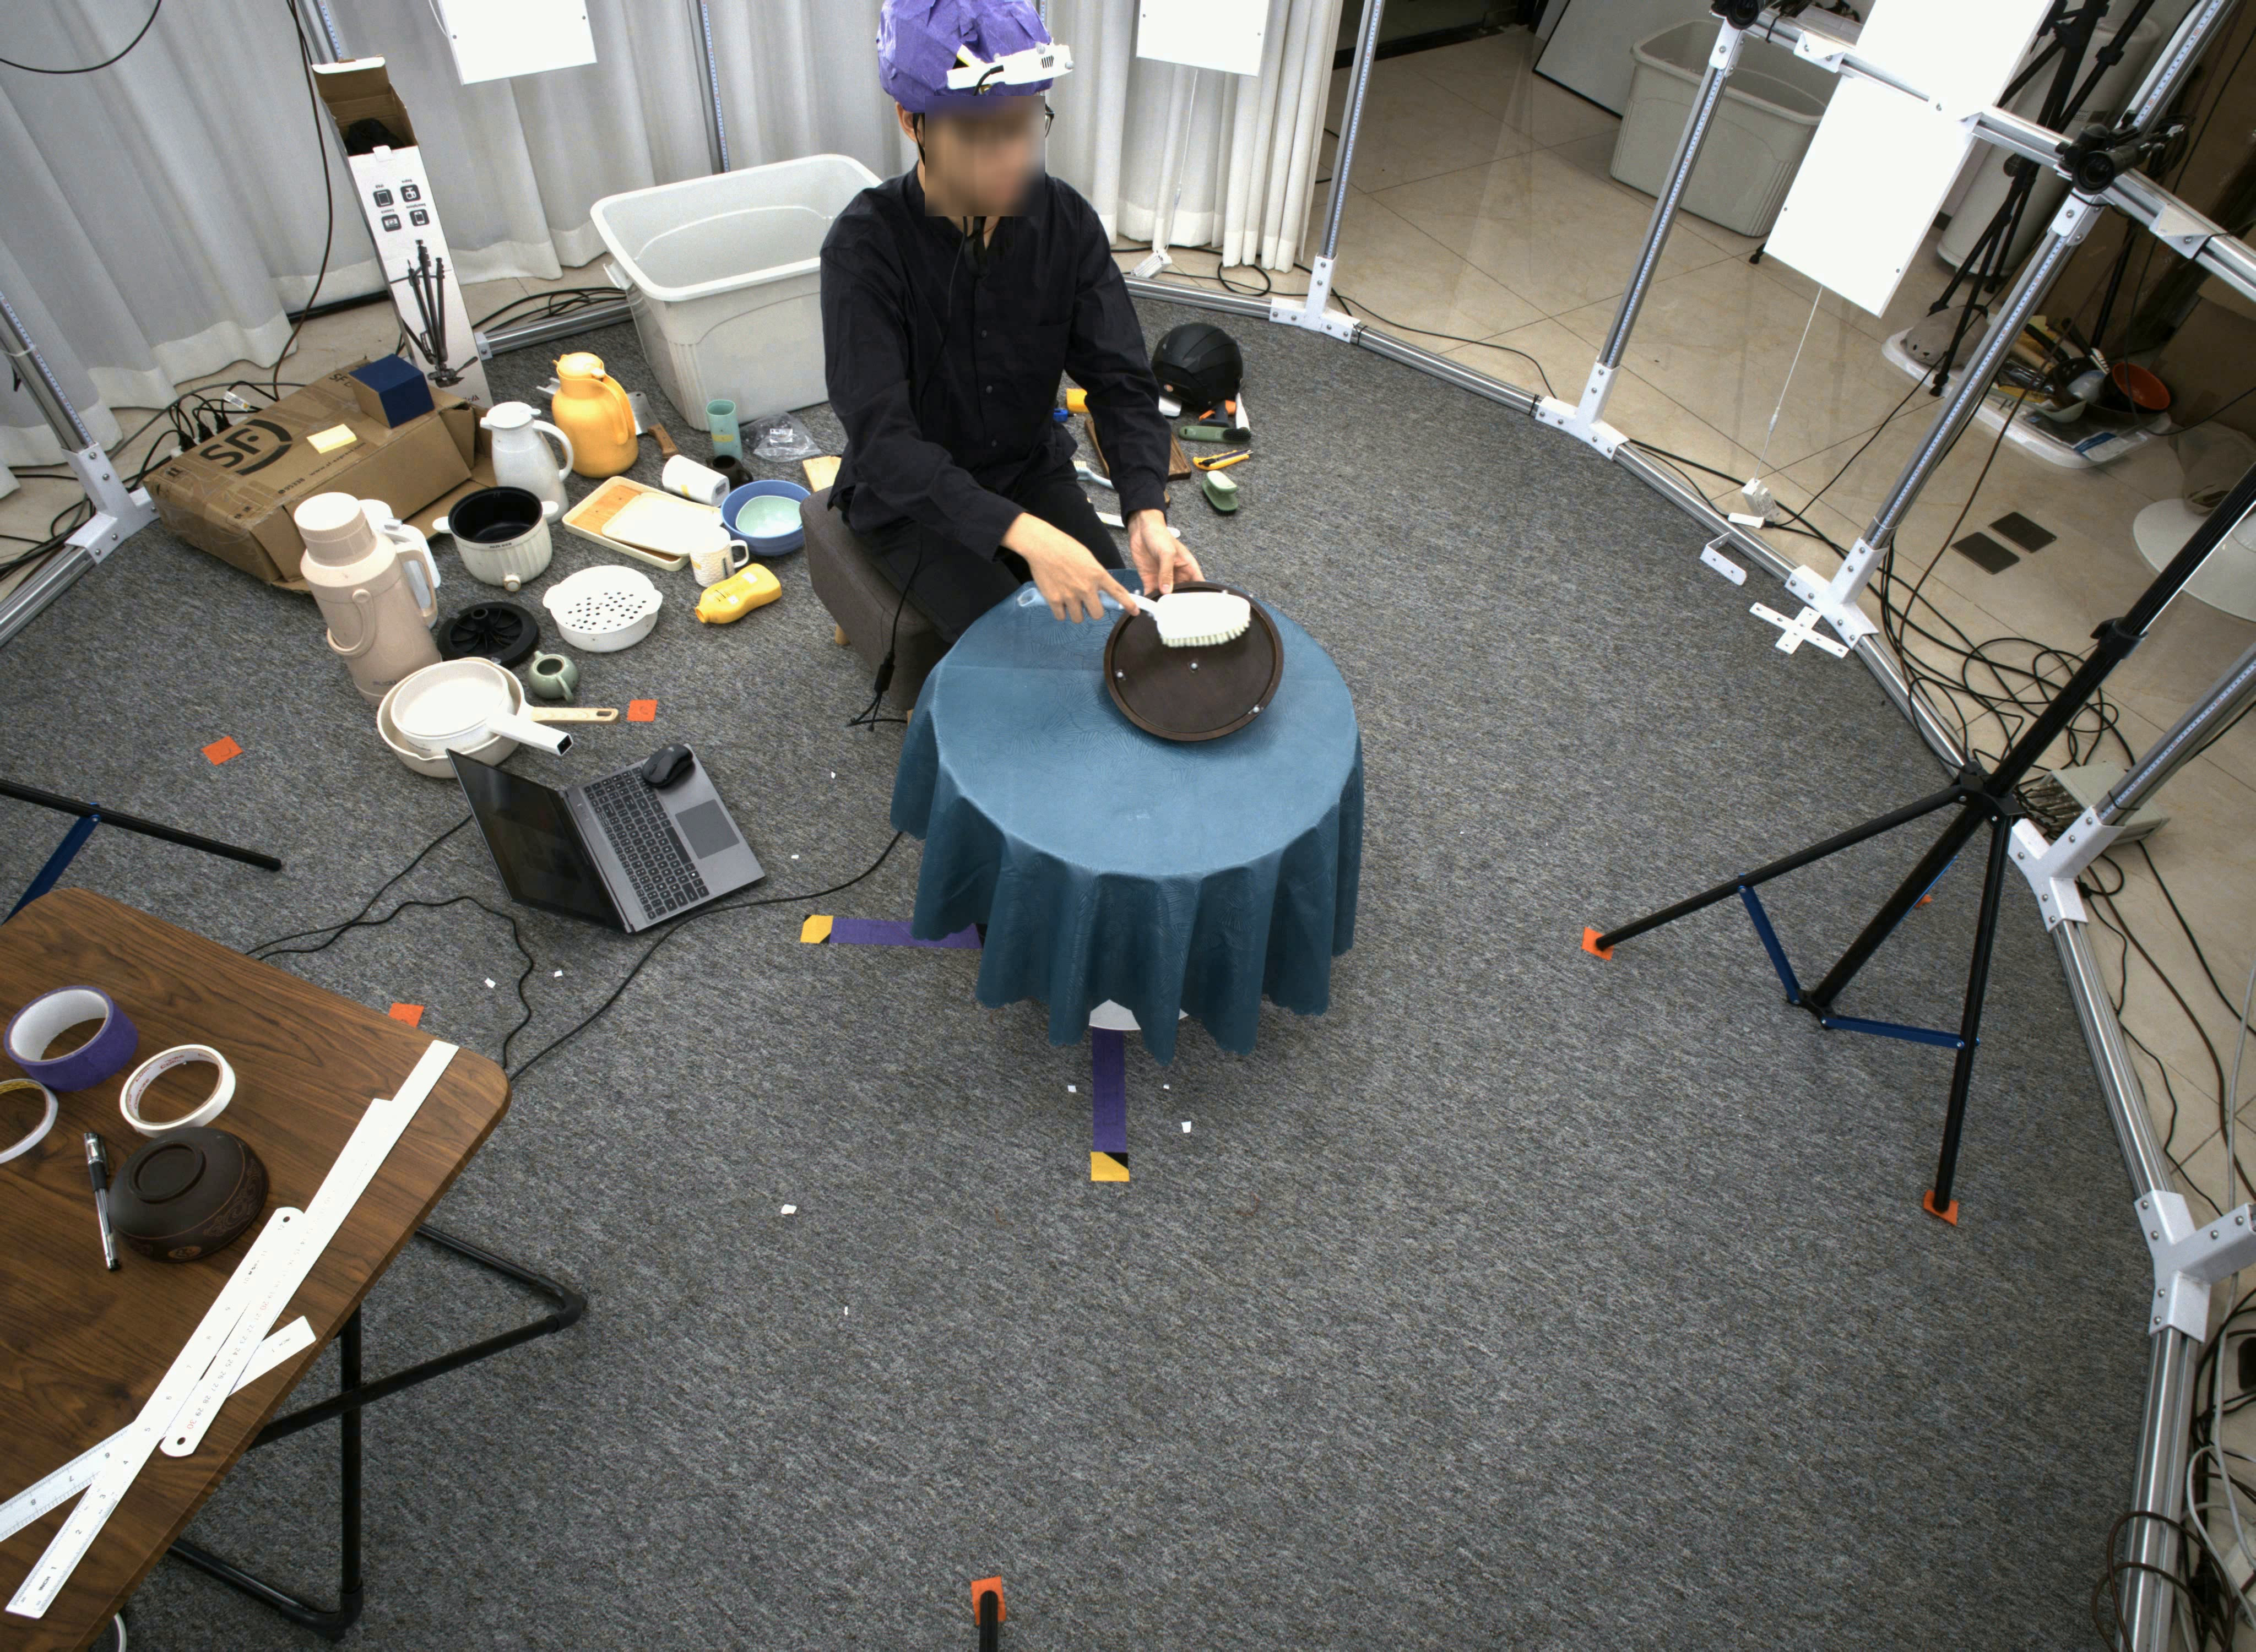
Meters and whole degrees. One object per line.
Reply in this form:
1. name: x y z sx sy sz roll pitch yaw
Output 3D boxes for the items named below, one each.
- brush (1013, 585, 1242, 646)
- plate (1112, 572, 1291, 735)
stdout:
1. brush: 0.000 -0.301 1.807 0.325 0.083 0.085 2 31 -6
2. plate: 0.103 -0.243 1.815 0.255 0.028 0.259 -3 68 7
